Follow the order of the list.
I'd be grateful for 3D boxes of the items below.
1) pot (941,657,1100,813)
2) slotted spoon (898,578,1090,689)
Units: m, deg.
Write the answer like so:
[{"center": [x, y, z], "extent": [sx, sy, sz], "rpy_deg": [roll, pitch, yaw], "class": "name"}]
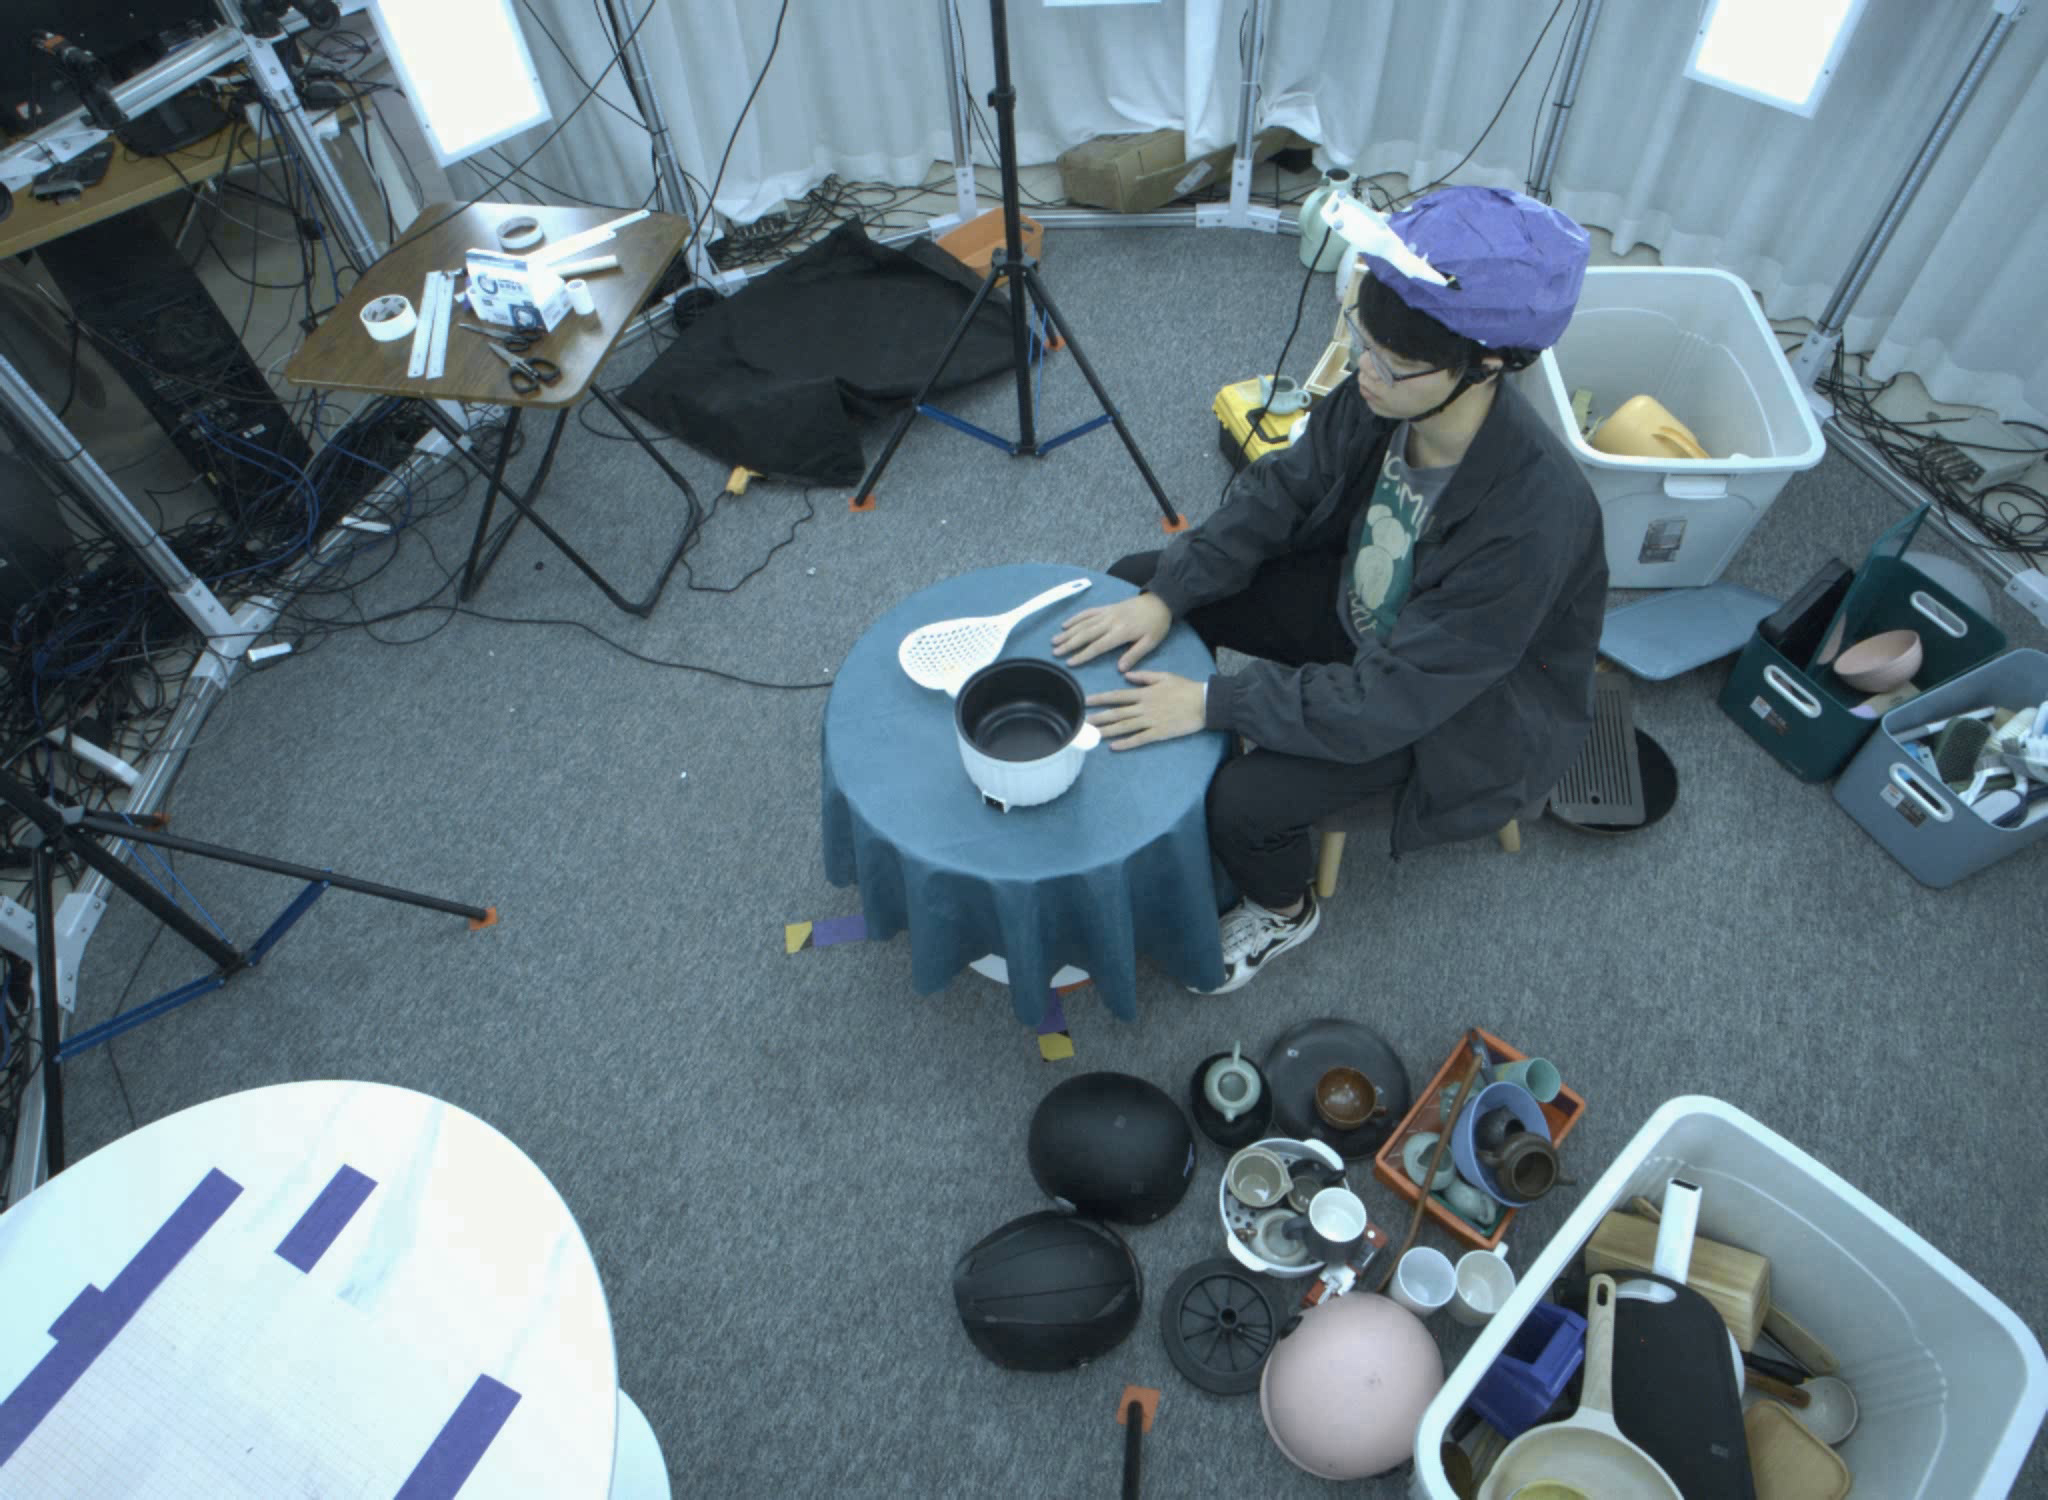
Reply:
[{"center": [-0.001, -0.022, 1.710], "extent": [0.237, 0.144, 0.191], "rpy_deg": [24, 62, 17], "class": "pot"}, {"center": [-0.032, -0.190, 1.890], "extent": [0.350, 0.051, 0.134], "rpy_deg": [-33, 58, -20], "class": "slotted spoon"}]
